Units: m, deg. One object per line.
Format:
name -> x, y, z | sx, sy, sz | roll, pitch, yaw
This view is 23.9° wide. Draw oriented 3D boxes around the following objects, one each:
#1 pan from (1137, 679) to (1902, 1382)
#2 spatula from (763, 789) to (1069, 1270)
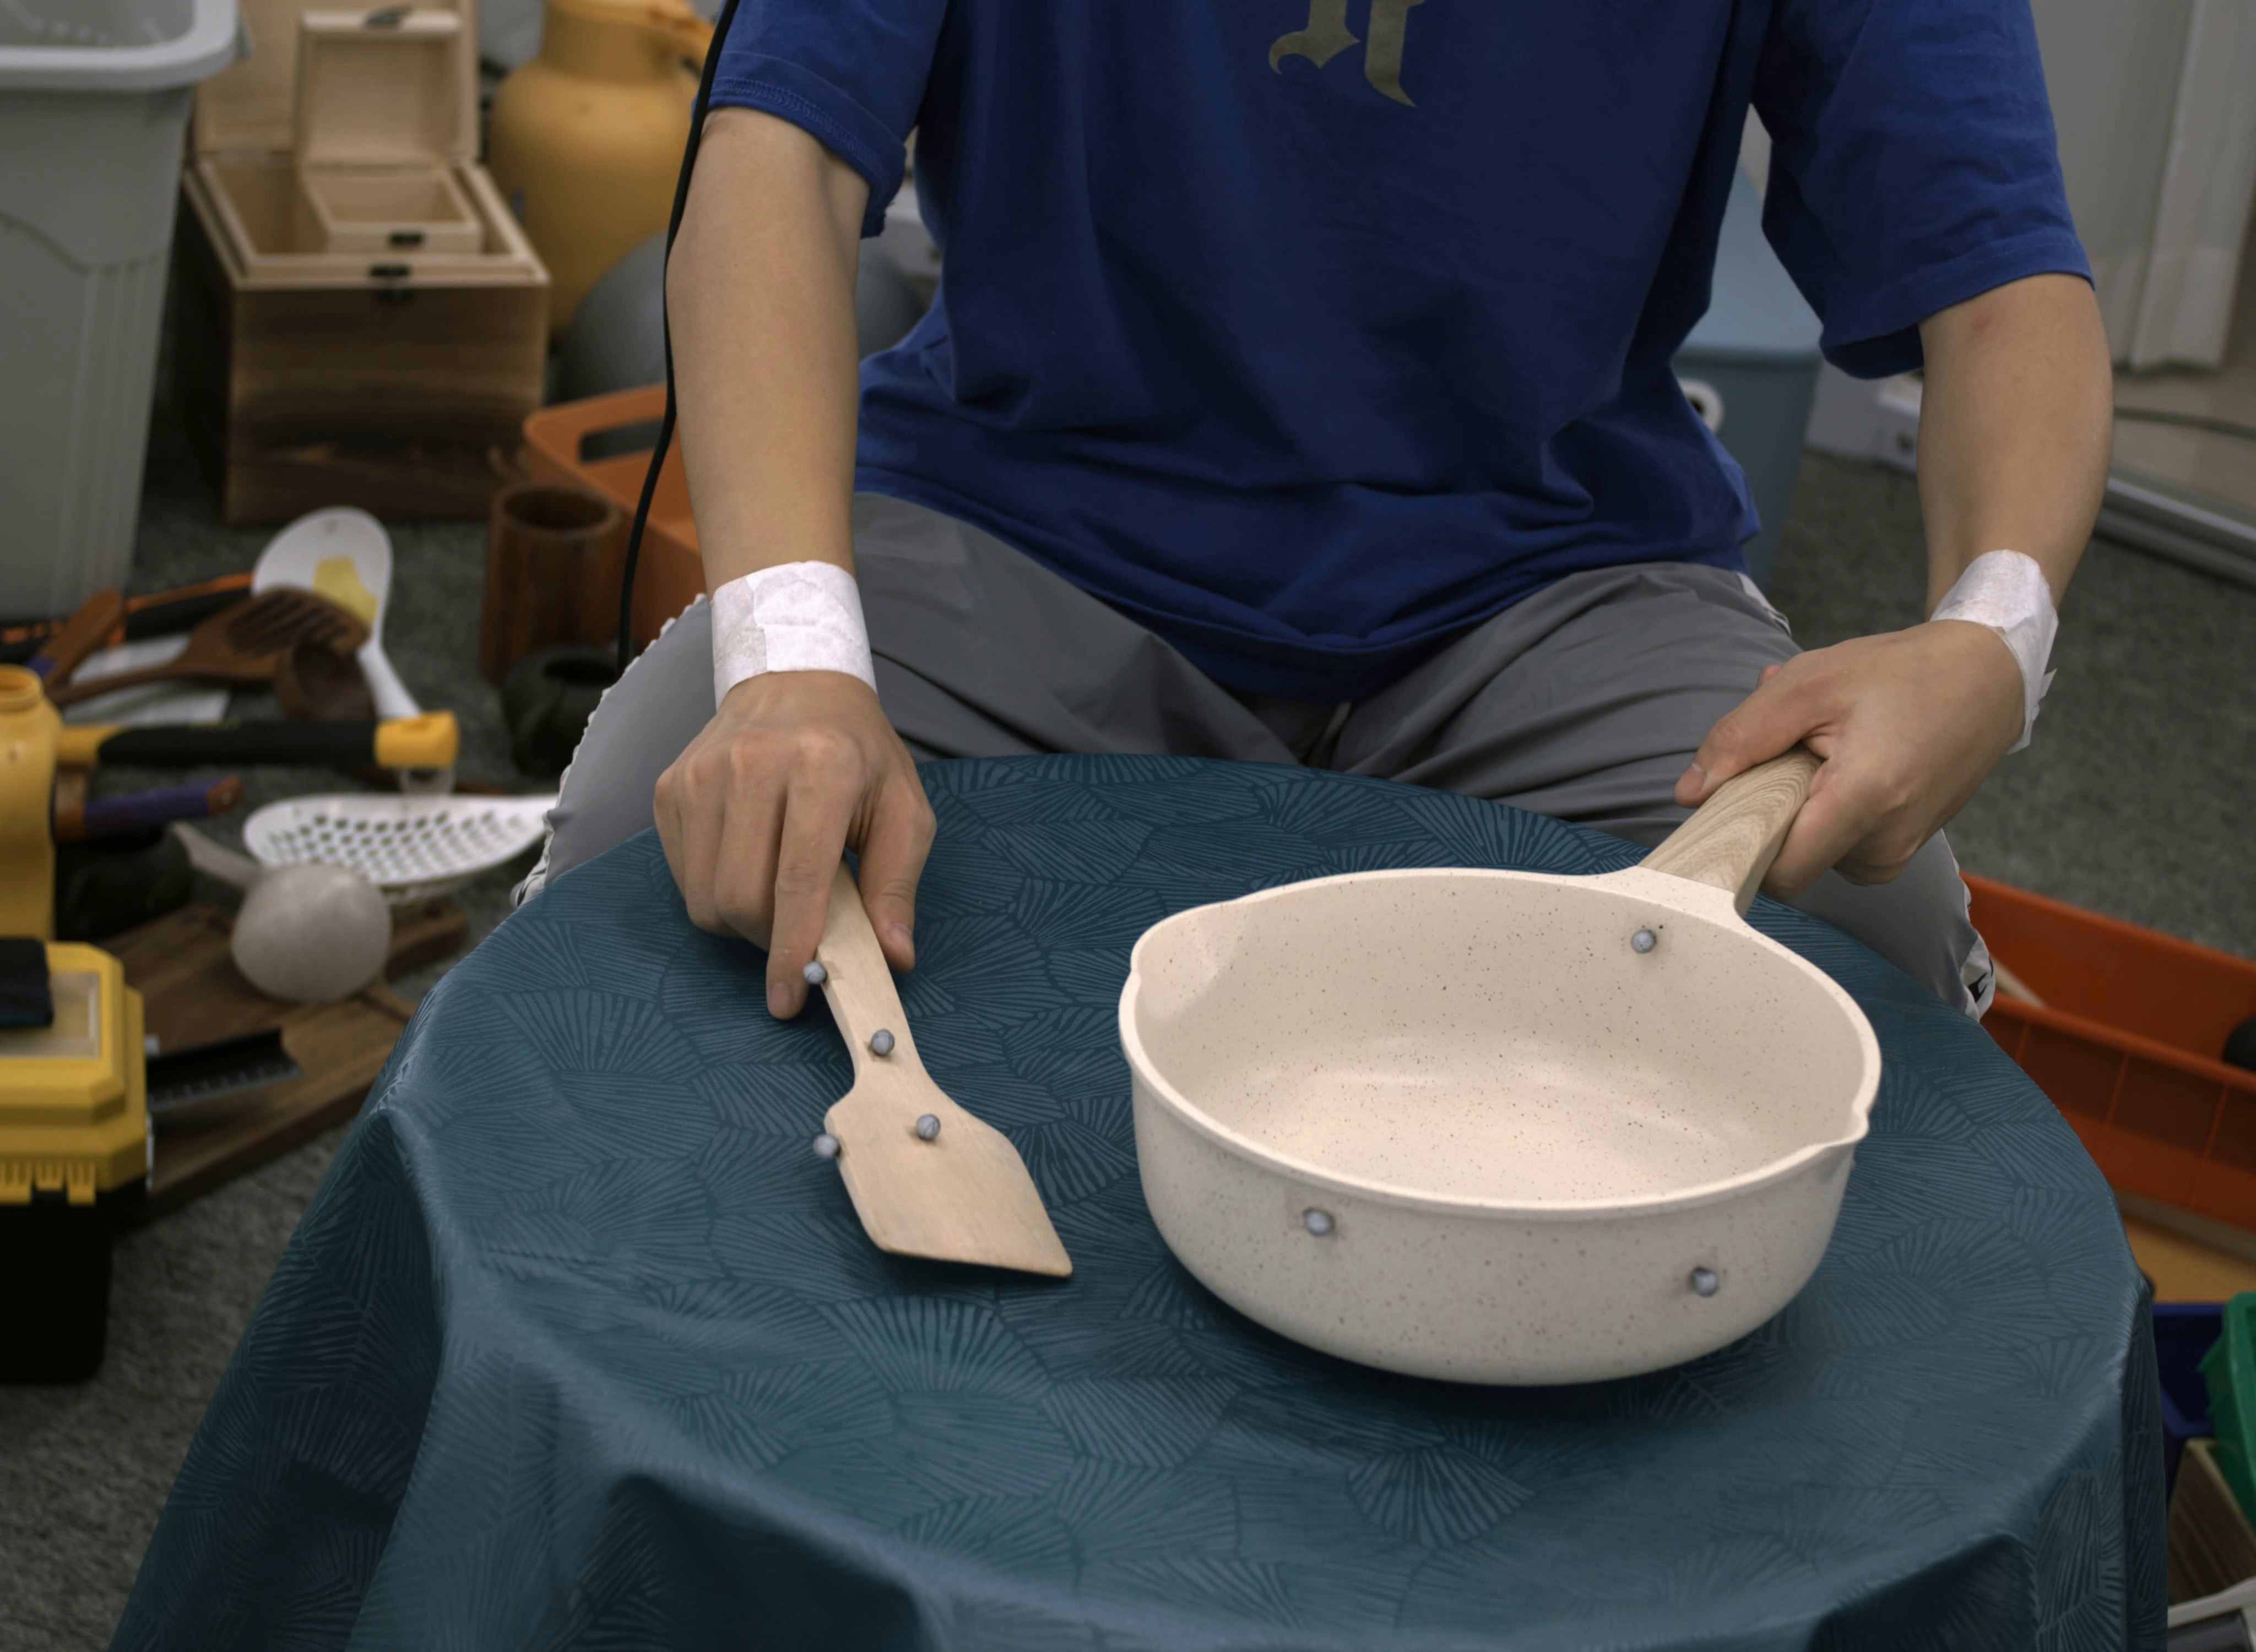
pan -> 0.171, 0.065, 1.833 | 0.264, 0.101, 0.434 | 14, 26, 26
spatula -> -0.088, 0.066, 1.854 | 0.072, 0.010, 0.295 | 9, 28, -22
